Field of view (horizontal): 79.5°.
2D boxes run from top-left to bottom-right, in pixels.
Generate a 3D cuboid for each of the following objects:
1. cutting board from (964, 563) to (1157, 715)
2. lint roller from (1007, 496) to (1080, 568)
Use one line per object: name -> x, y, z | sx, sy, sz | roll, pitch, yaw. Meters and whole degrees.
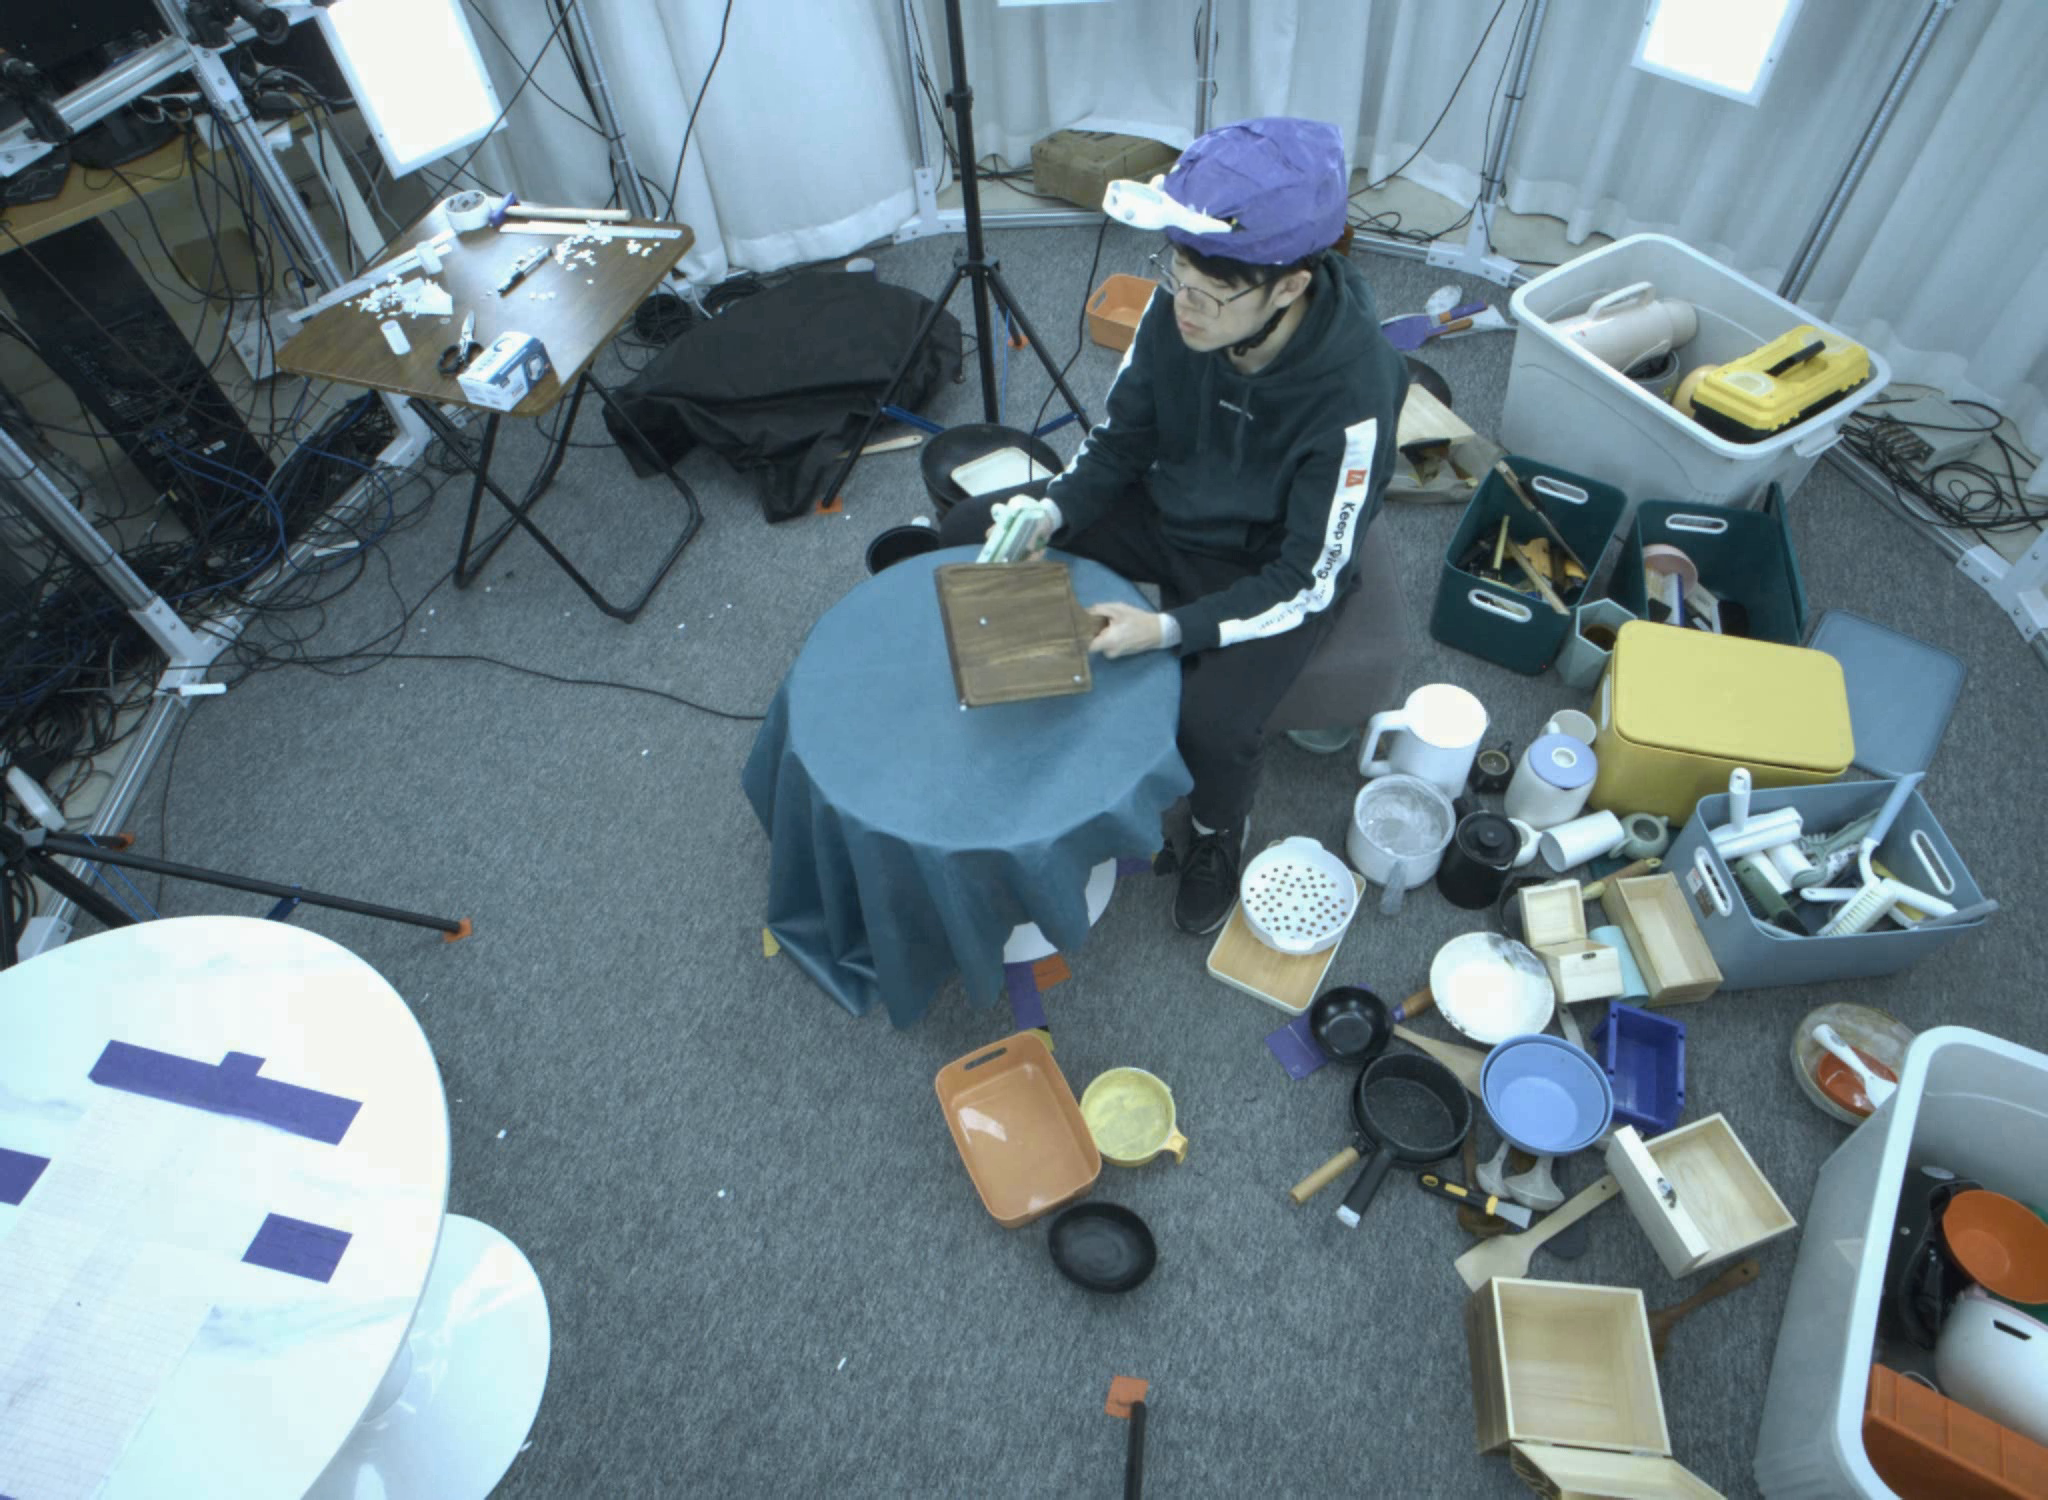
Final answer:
cutting board -> 0.067, -0.164, 1.737 | 0.359, 0.023, 0.201 | -9, 90, -44
lint roller -> 0.022, -0.301, 1.822 | 0.082, 0.198, 0.183 | 32, 30, 1
